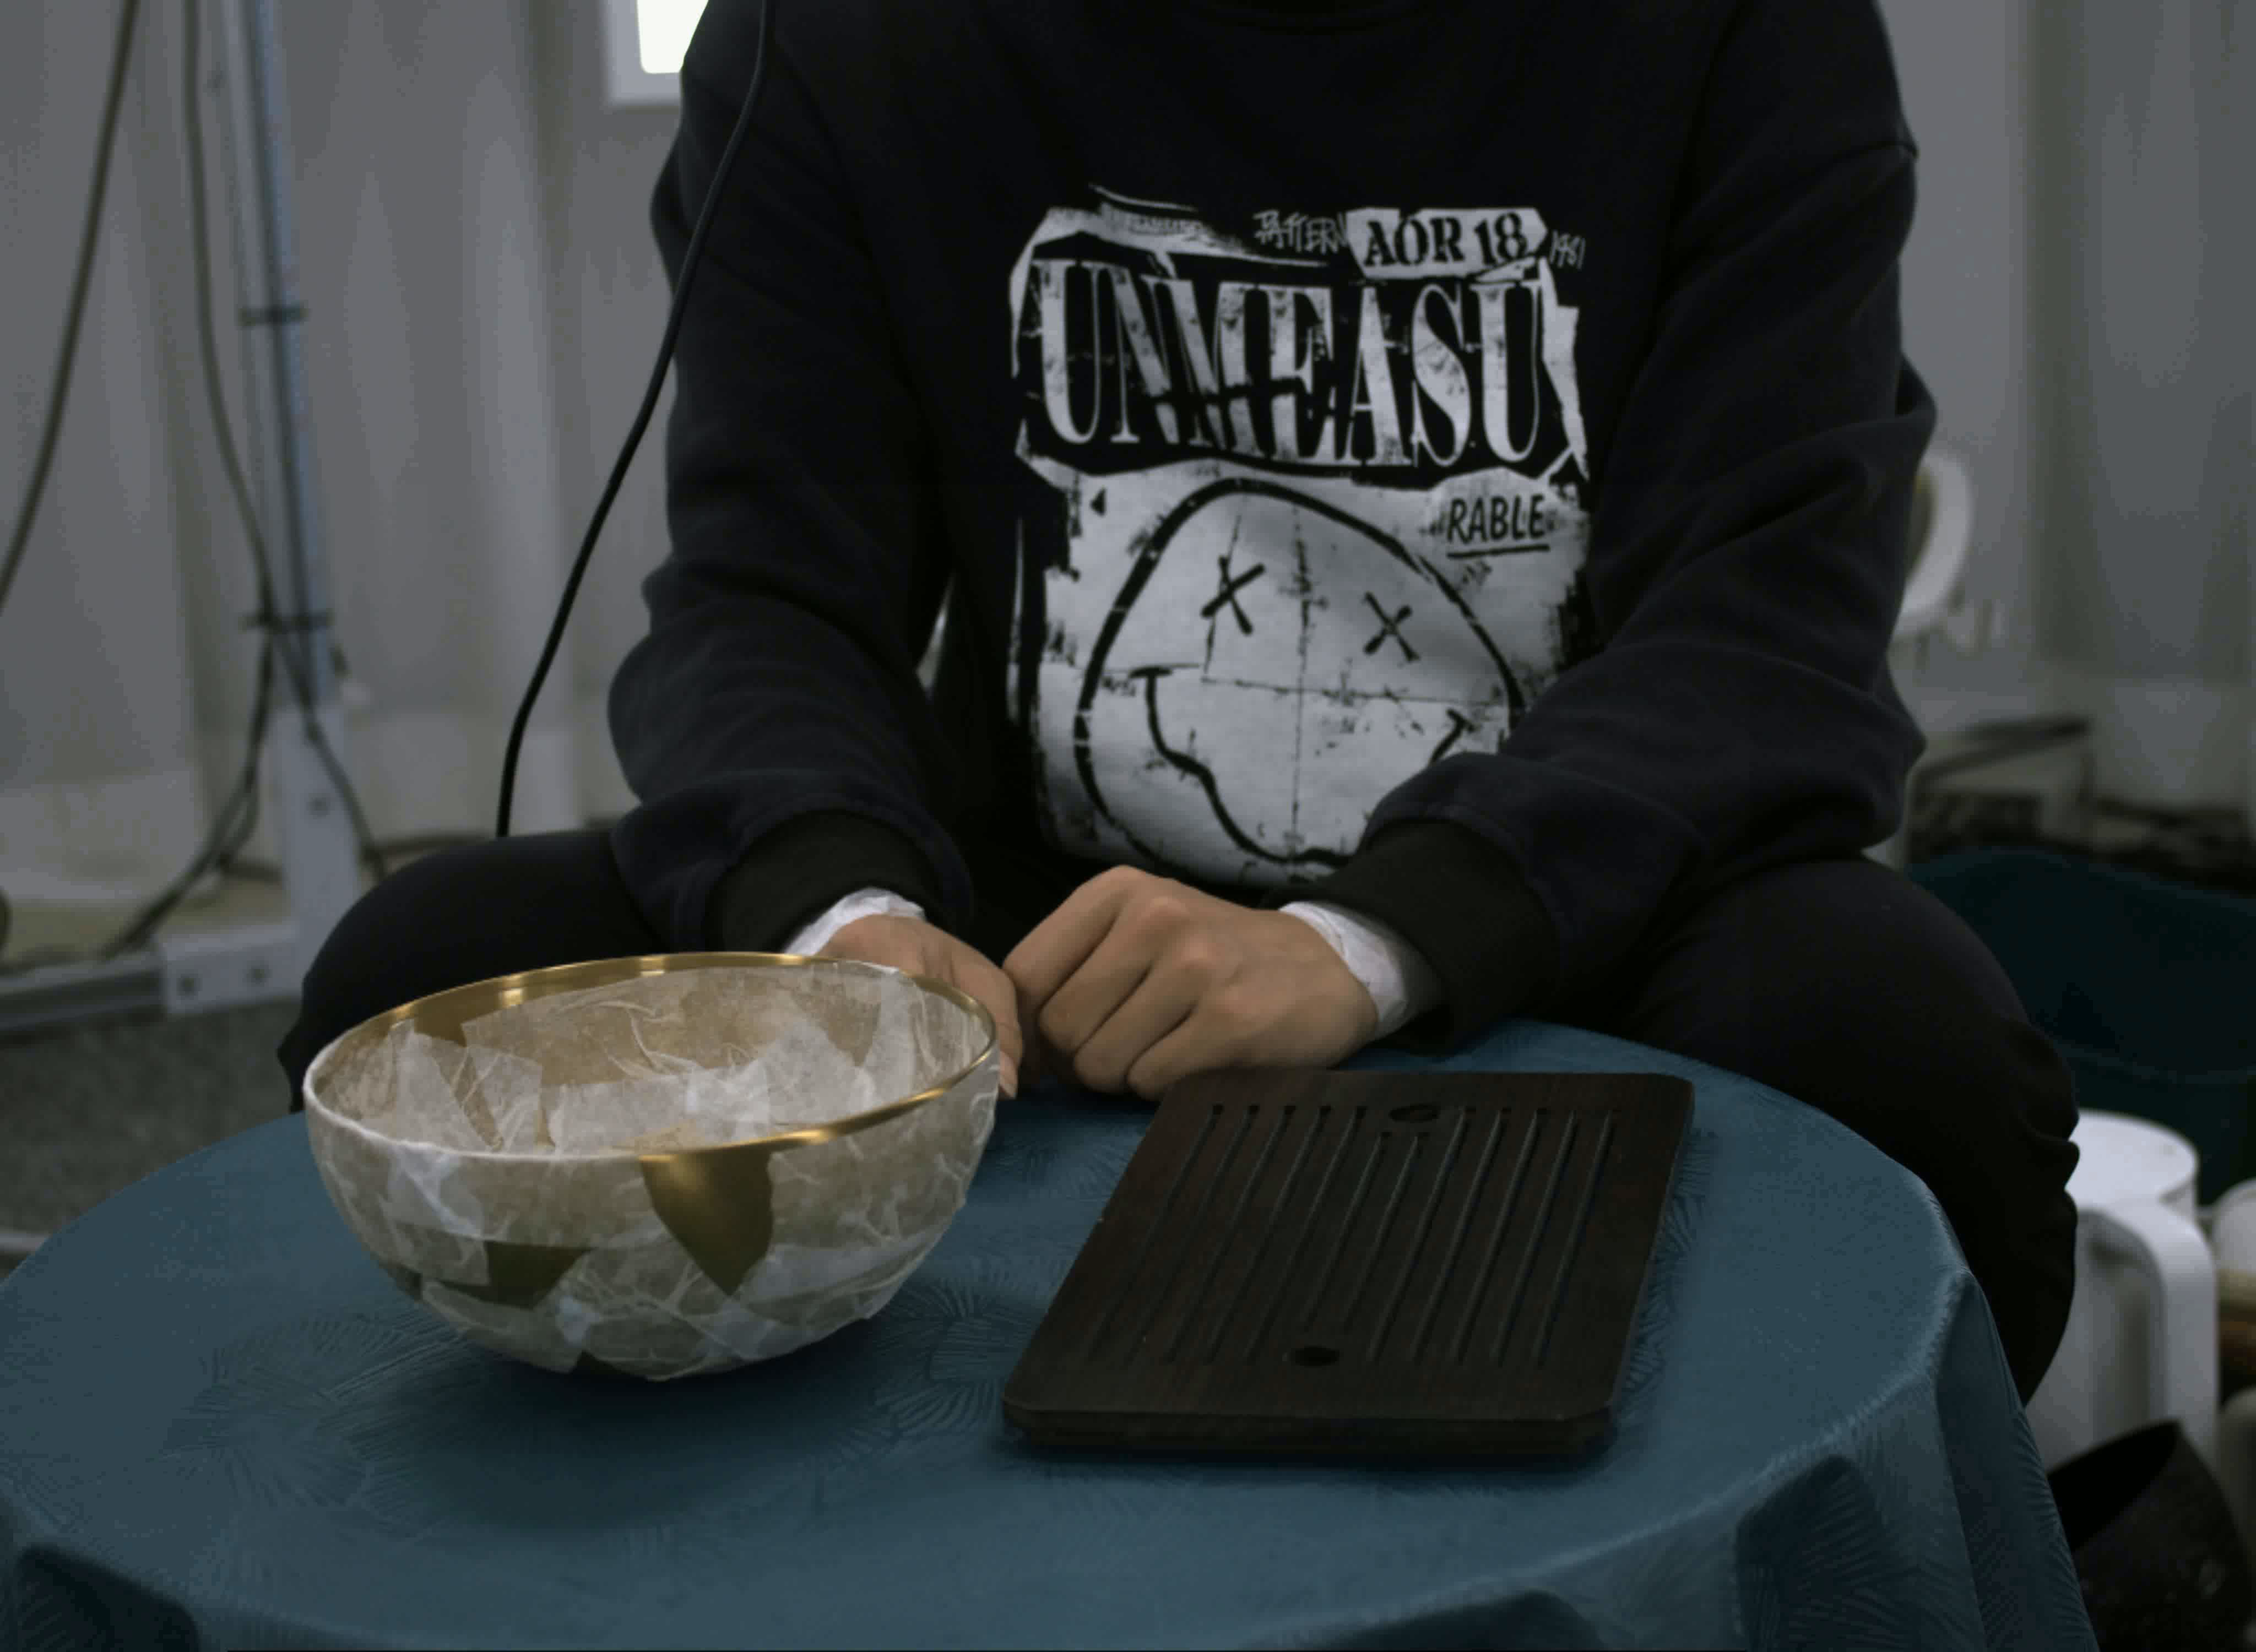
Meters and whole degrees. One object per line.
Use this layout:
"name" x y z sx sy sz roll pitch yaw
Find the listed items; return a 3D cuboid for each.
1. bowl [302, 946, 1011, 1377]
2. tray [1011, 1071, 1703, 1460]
"bowl" -0.131 0.106 1.593 0.214 0.094 0.216 -4 14 1
"tray" 0.076 0.127 1.619 0.170 0.018 0.307 0 15 11
